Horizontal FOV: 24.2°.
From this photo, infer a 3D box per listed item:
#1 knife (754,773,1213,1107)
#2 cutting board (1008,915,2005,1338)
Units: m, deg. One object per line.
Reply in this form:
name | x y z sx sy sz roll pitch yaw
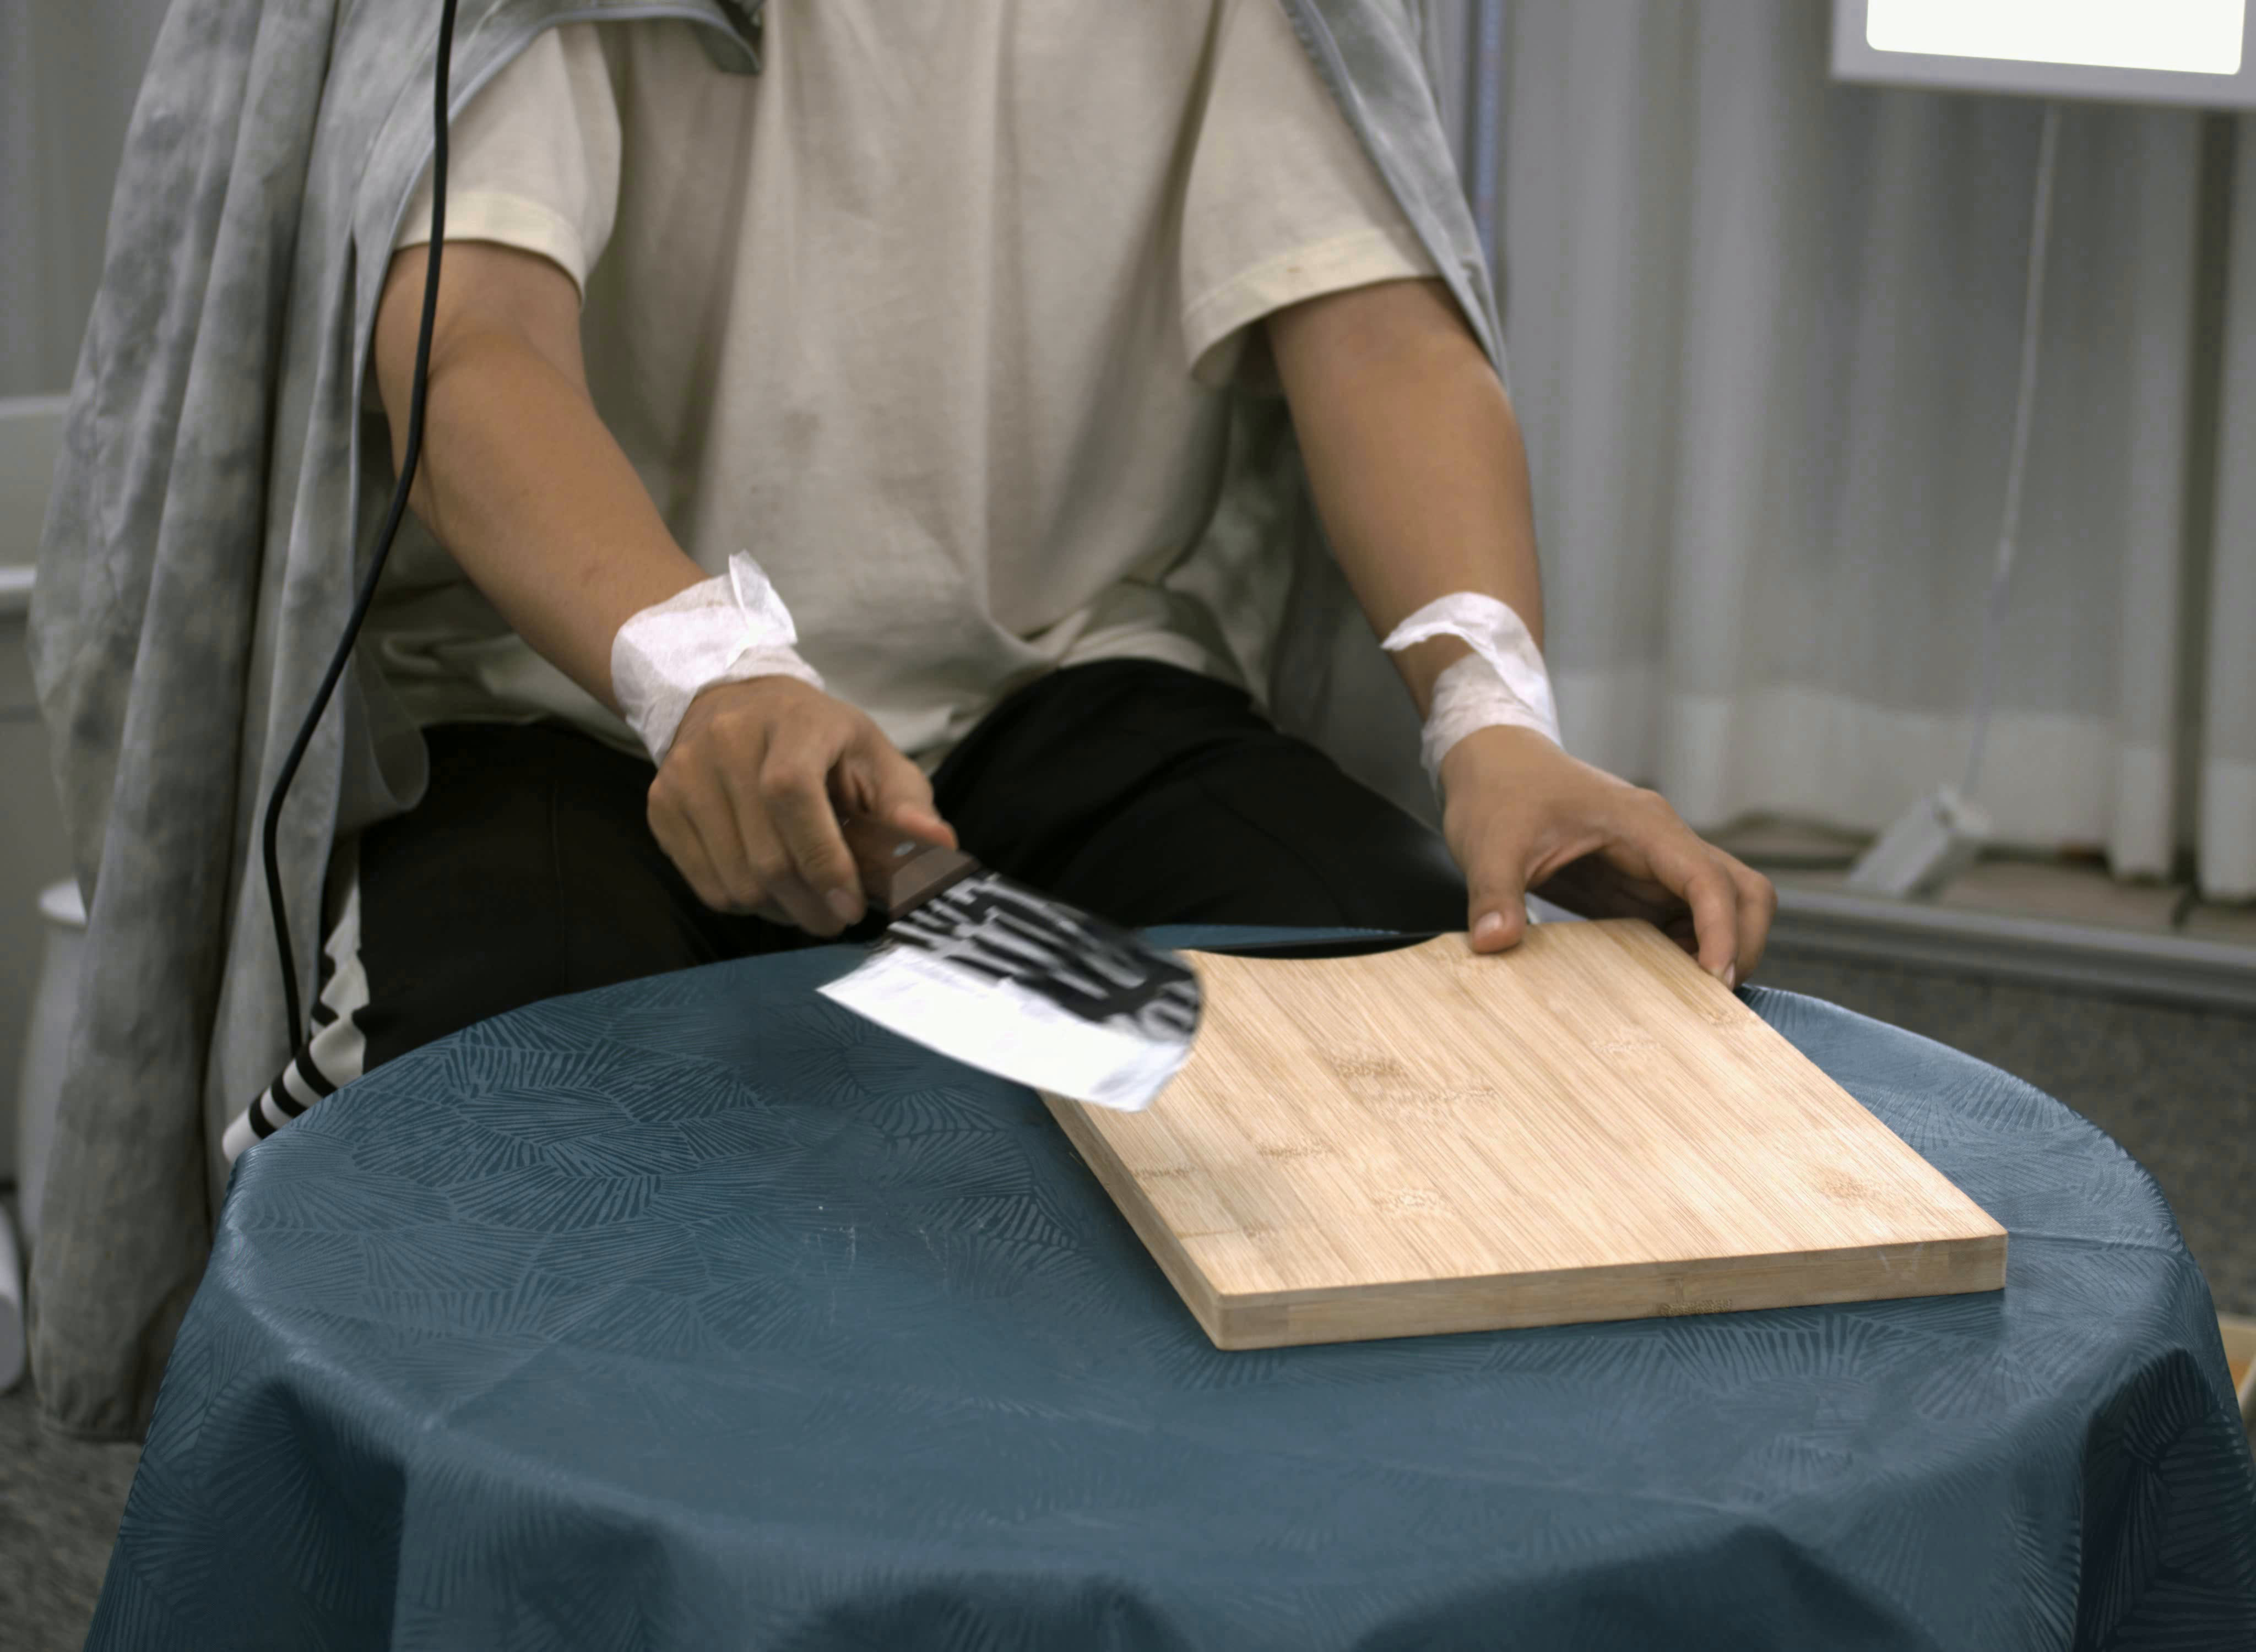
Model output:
knife | -0.054 0.034 1.626 0.068 0.024 0.295 -38 30 -19
cutting board | 0.103 0.090 1.681 0.251 0.024 0.345 -3 16 -14
